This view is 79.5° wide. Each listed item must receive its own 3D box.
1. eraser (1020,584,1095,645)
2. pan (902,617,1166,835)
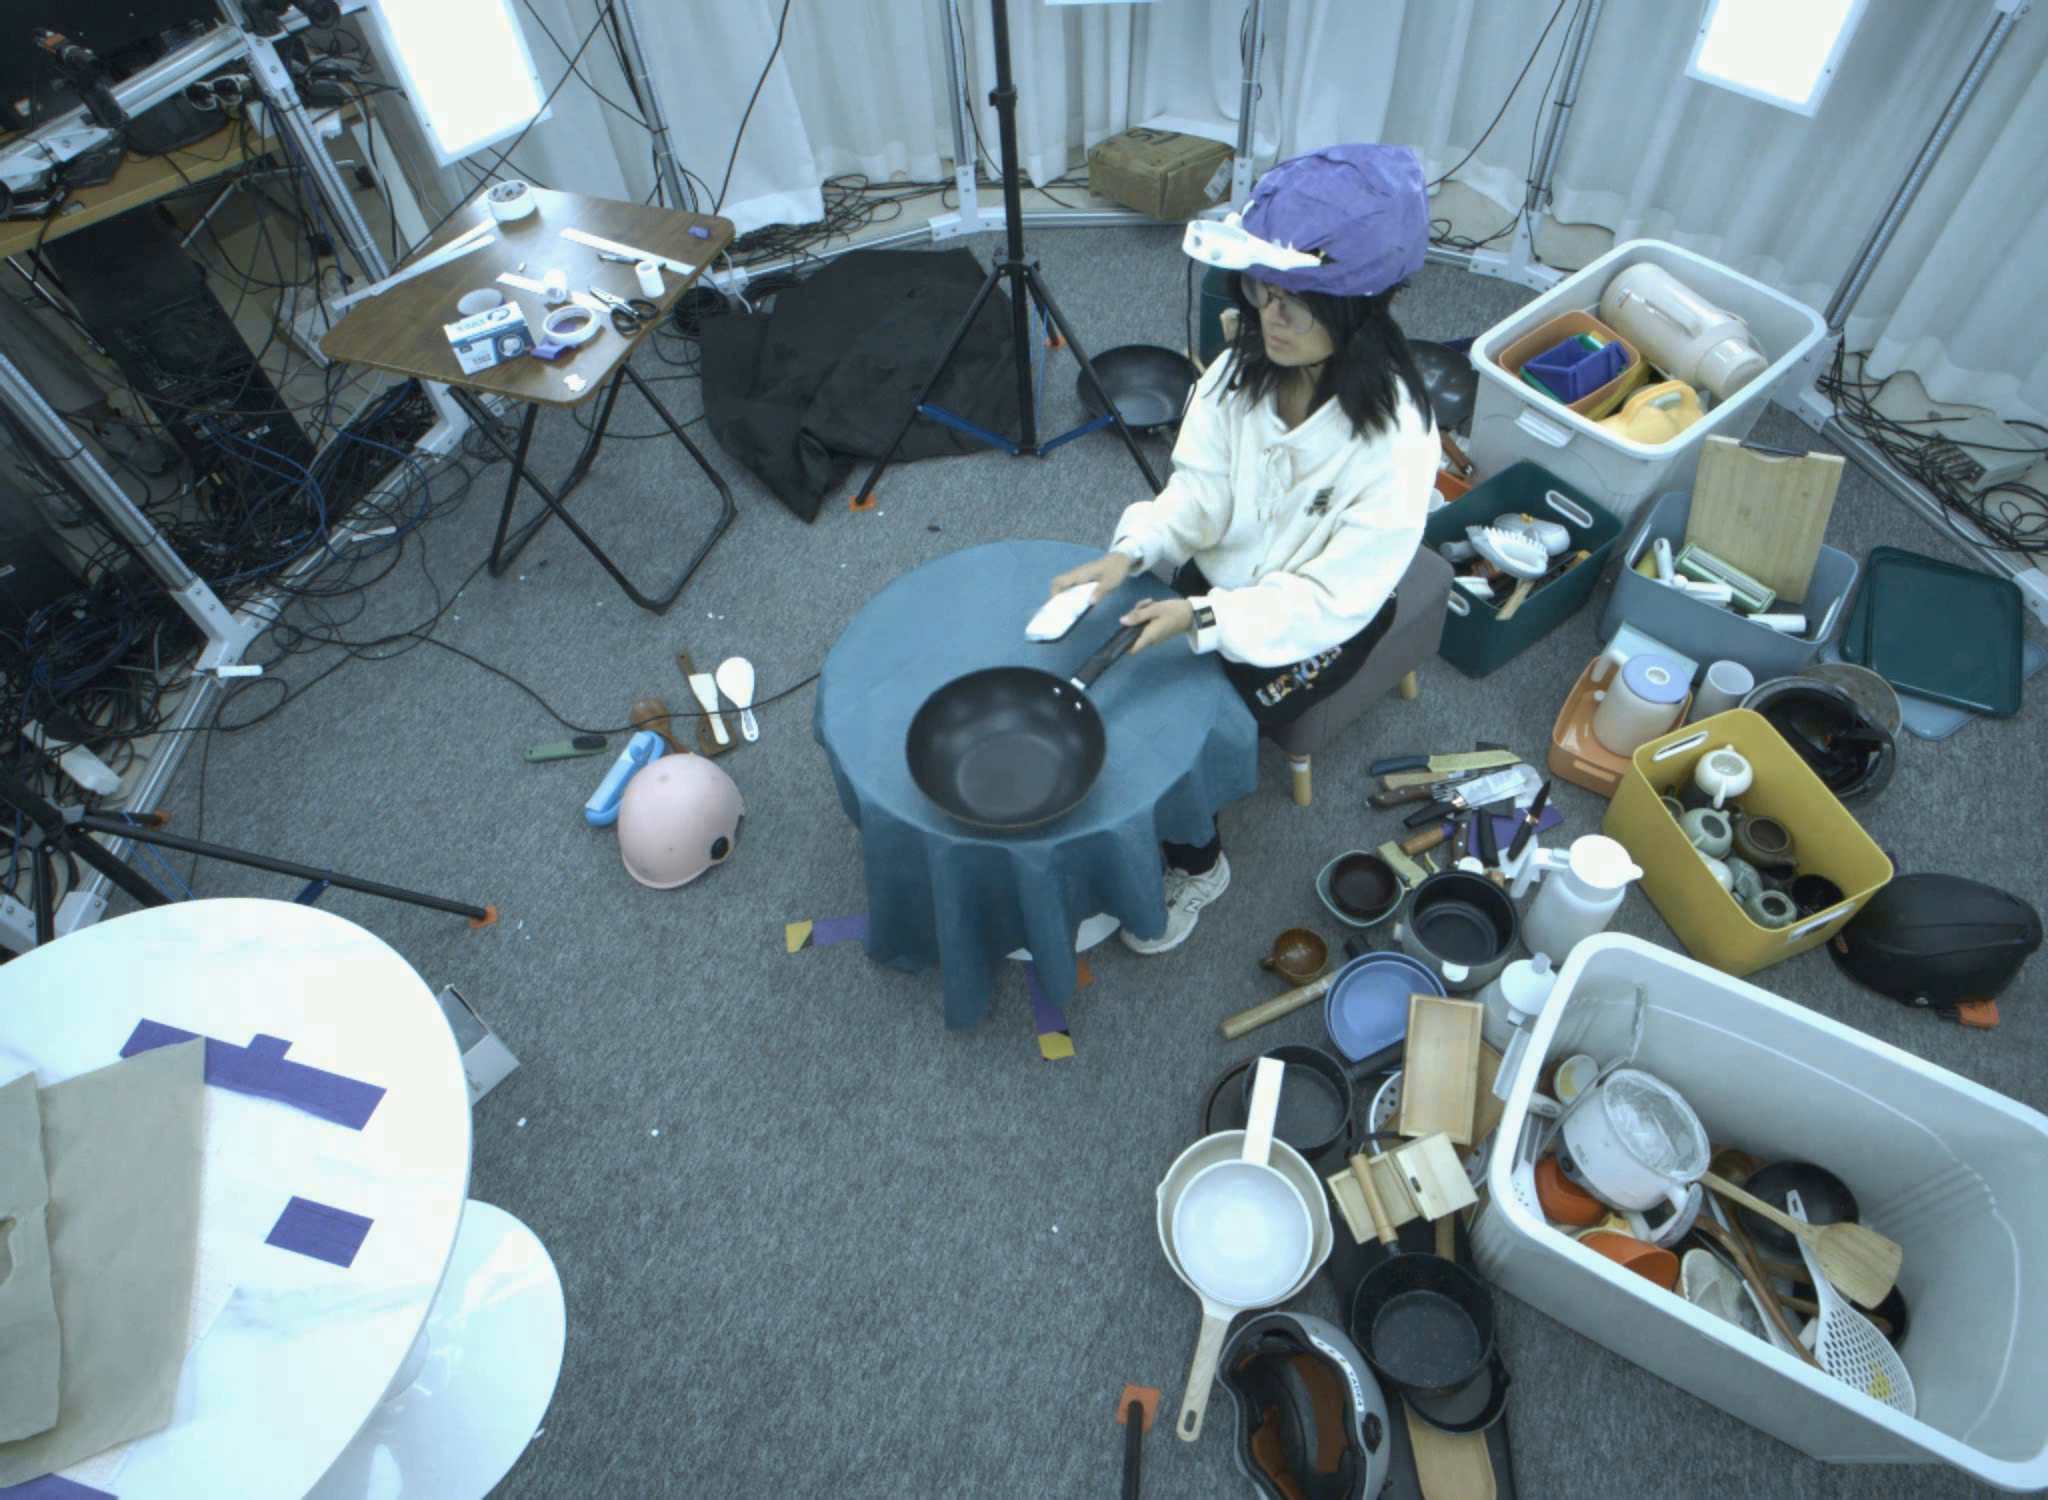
[{"bbox_3d":[0.051,-0.205,1.825,0.062,0.035,0.132,8,44,44],"label":"eraser"},{"bbox_3d":[0.037,-0.041,1.765,0.283,0.088,0.466,38,63,24],"label":"pan"}]
